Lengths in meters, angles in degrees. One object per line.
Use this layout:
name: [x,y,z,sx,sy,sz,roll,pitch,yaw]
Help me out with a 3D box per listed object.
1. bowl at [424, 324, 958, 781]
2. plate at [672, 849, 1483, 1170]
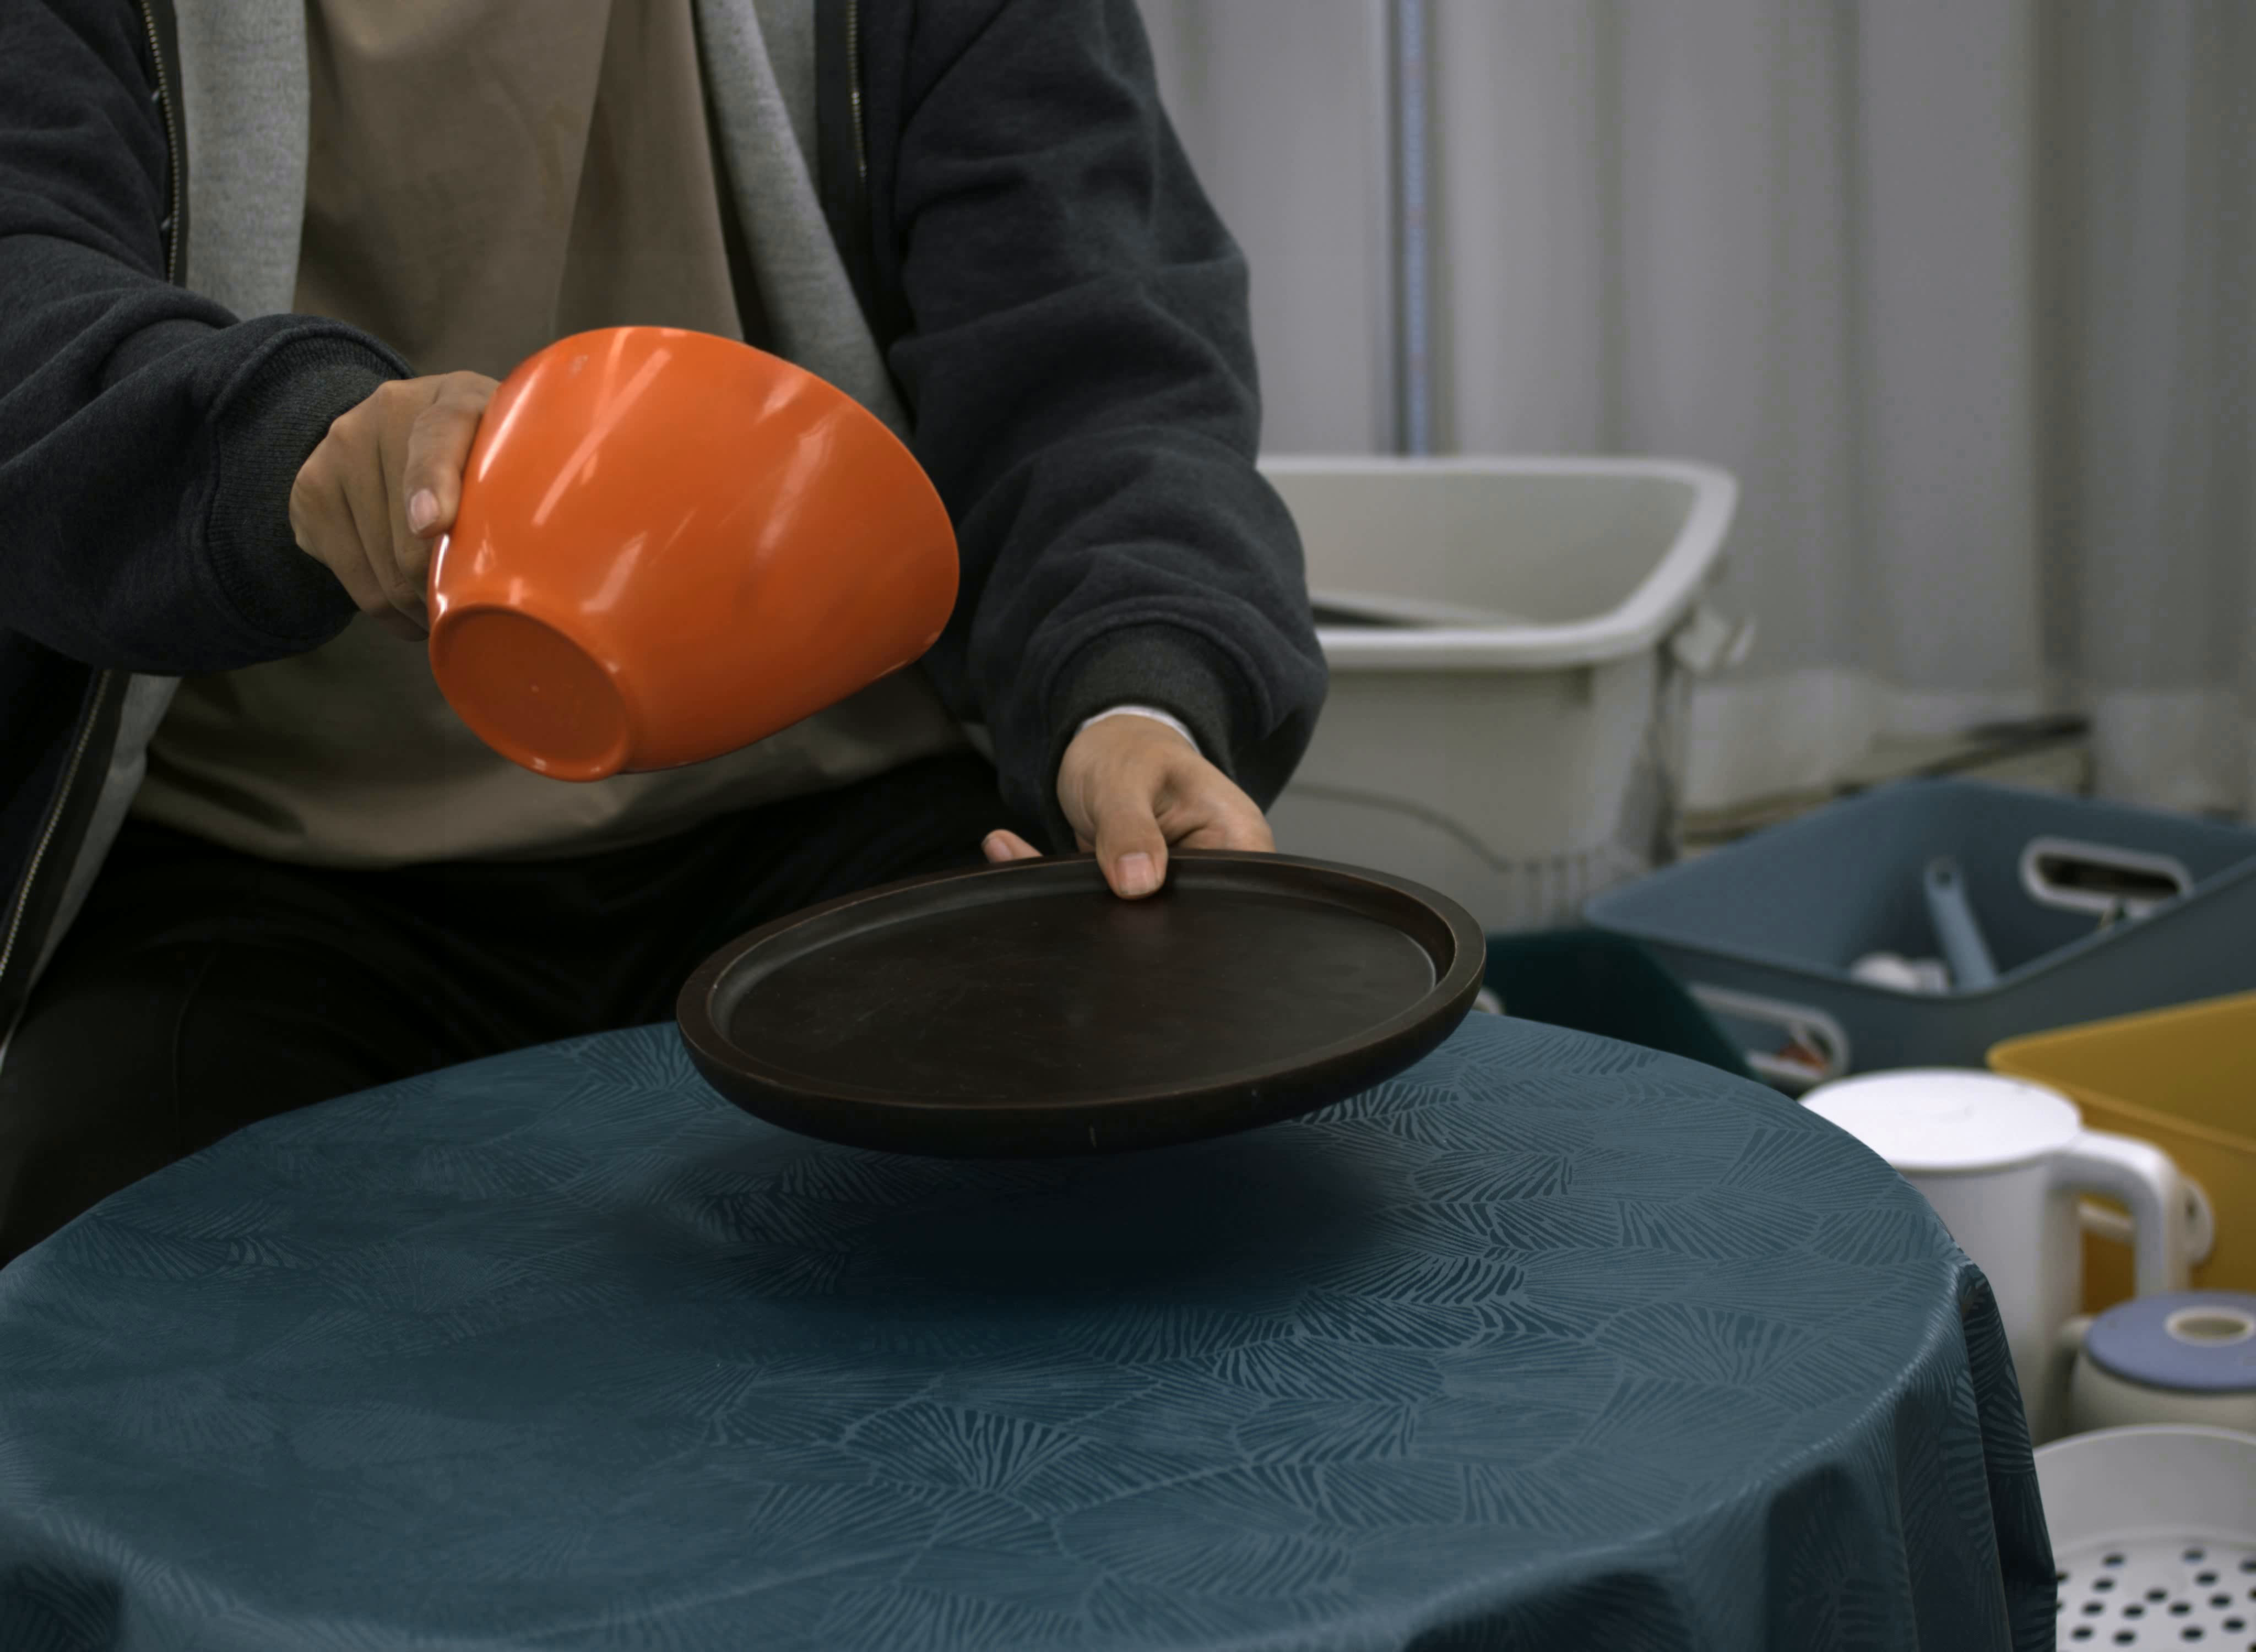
bowl: [-0.138,-0.065,1.581,0.148,0.146,0.105,7,45,32]
plate: [-0.015,0.054,1.700,0.254,0.029,0.257,-6,17,1]
